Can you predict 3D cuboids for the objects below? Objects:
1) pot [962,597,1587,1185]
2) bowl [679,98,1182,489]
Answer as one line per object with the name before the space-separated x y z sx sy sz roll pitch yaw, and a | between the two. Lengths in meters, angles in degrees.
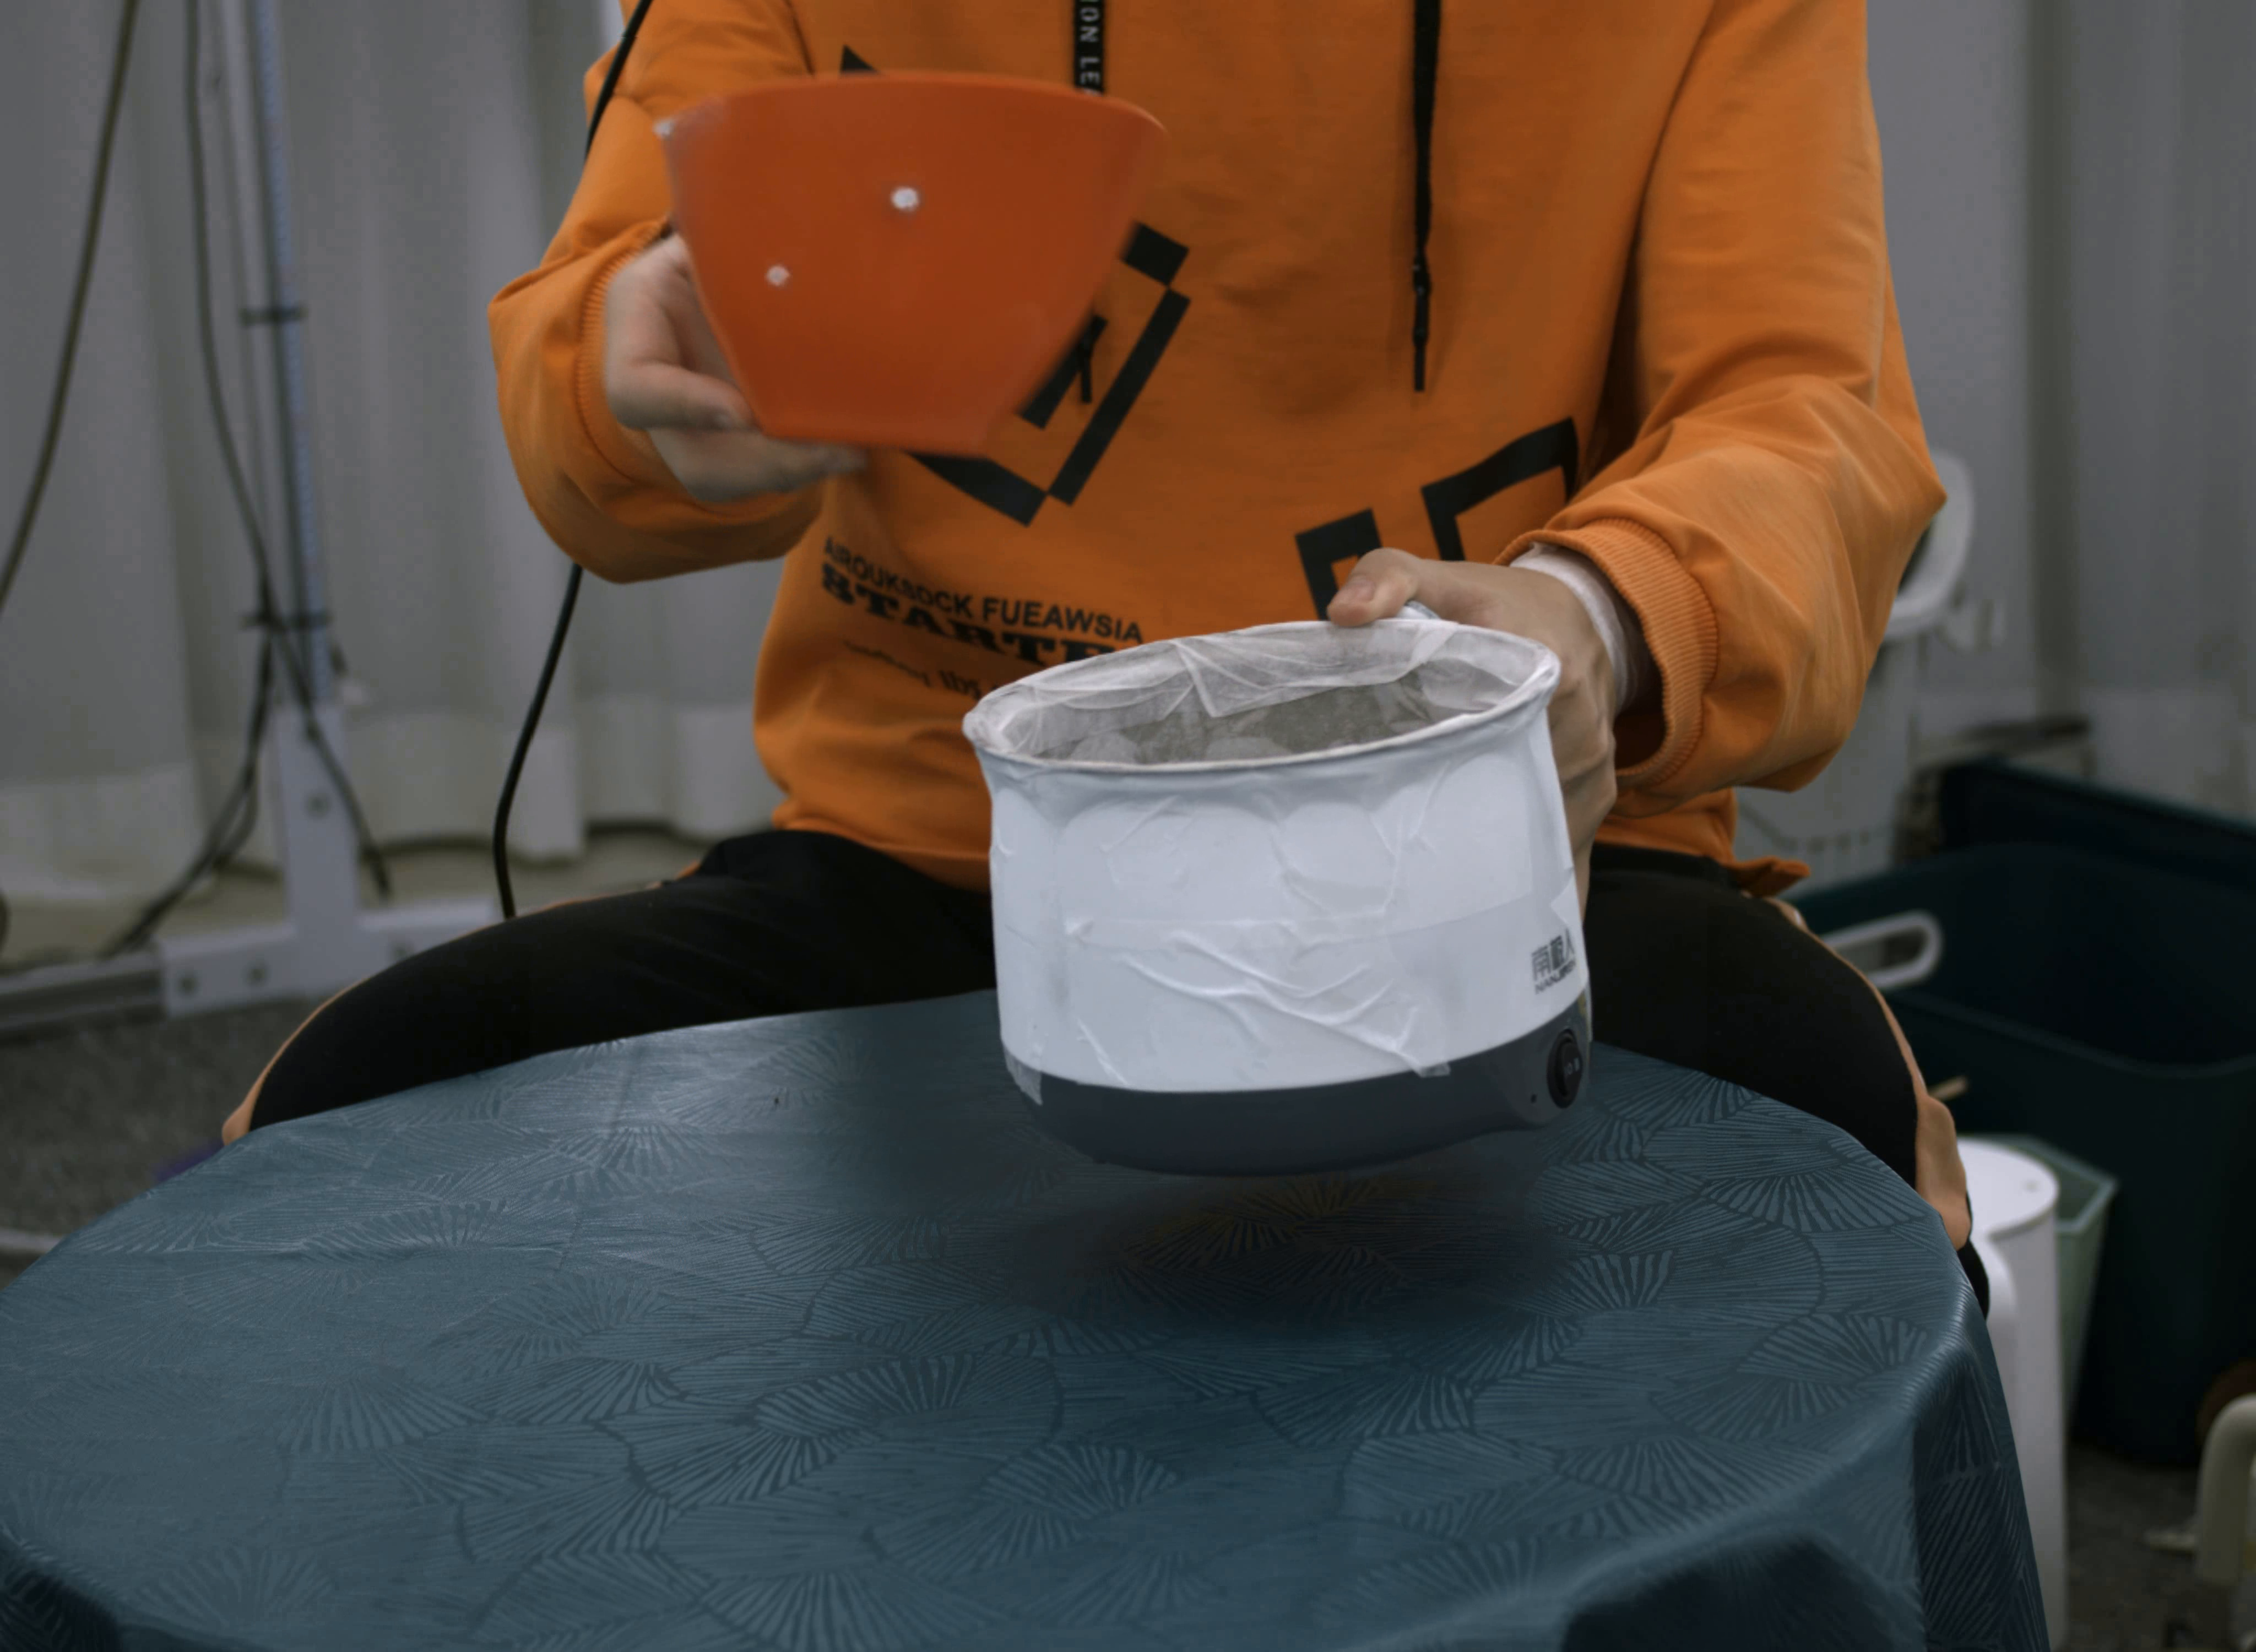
pot | 0.057 0.014 1.651 0.179 0.136 0.234 1 16 27
bowl | -0.062 -0.153 1.602 0.147 0.105 0.148 6 1 0
